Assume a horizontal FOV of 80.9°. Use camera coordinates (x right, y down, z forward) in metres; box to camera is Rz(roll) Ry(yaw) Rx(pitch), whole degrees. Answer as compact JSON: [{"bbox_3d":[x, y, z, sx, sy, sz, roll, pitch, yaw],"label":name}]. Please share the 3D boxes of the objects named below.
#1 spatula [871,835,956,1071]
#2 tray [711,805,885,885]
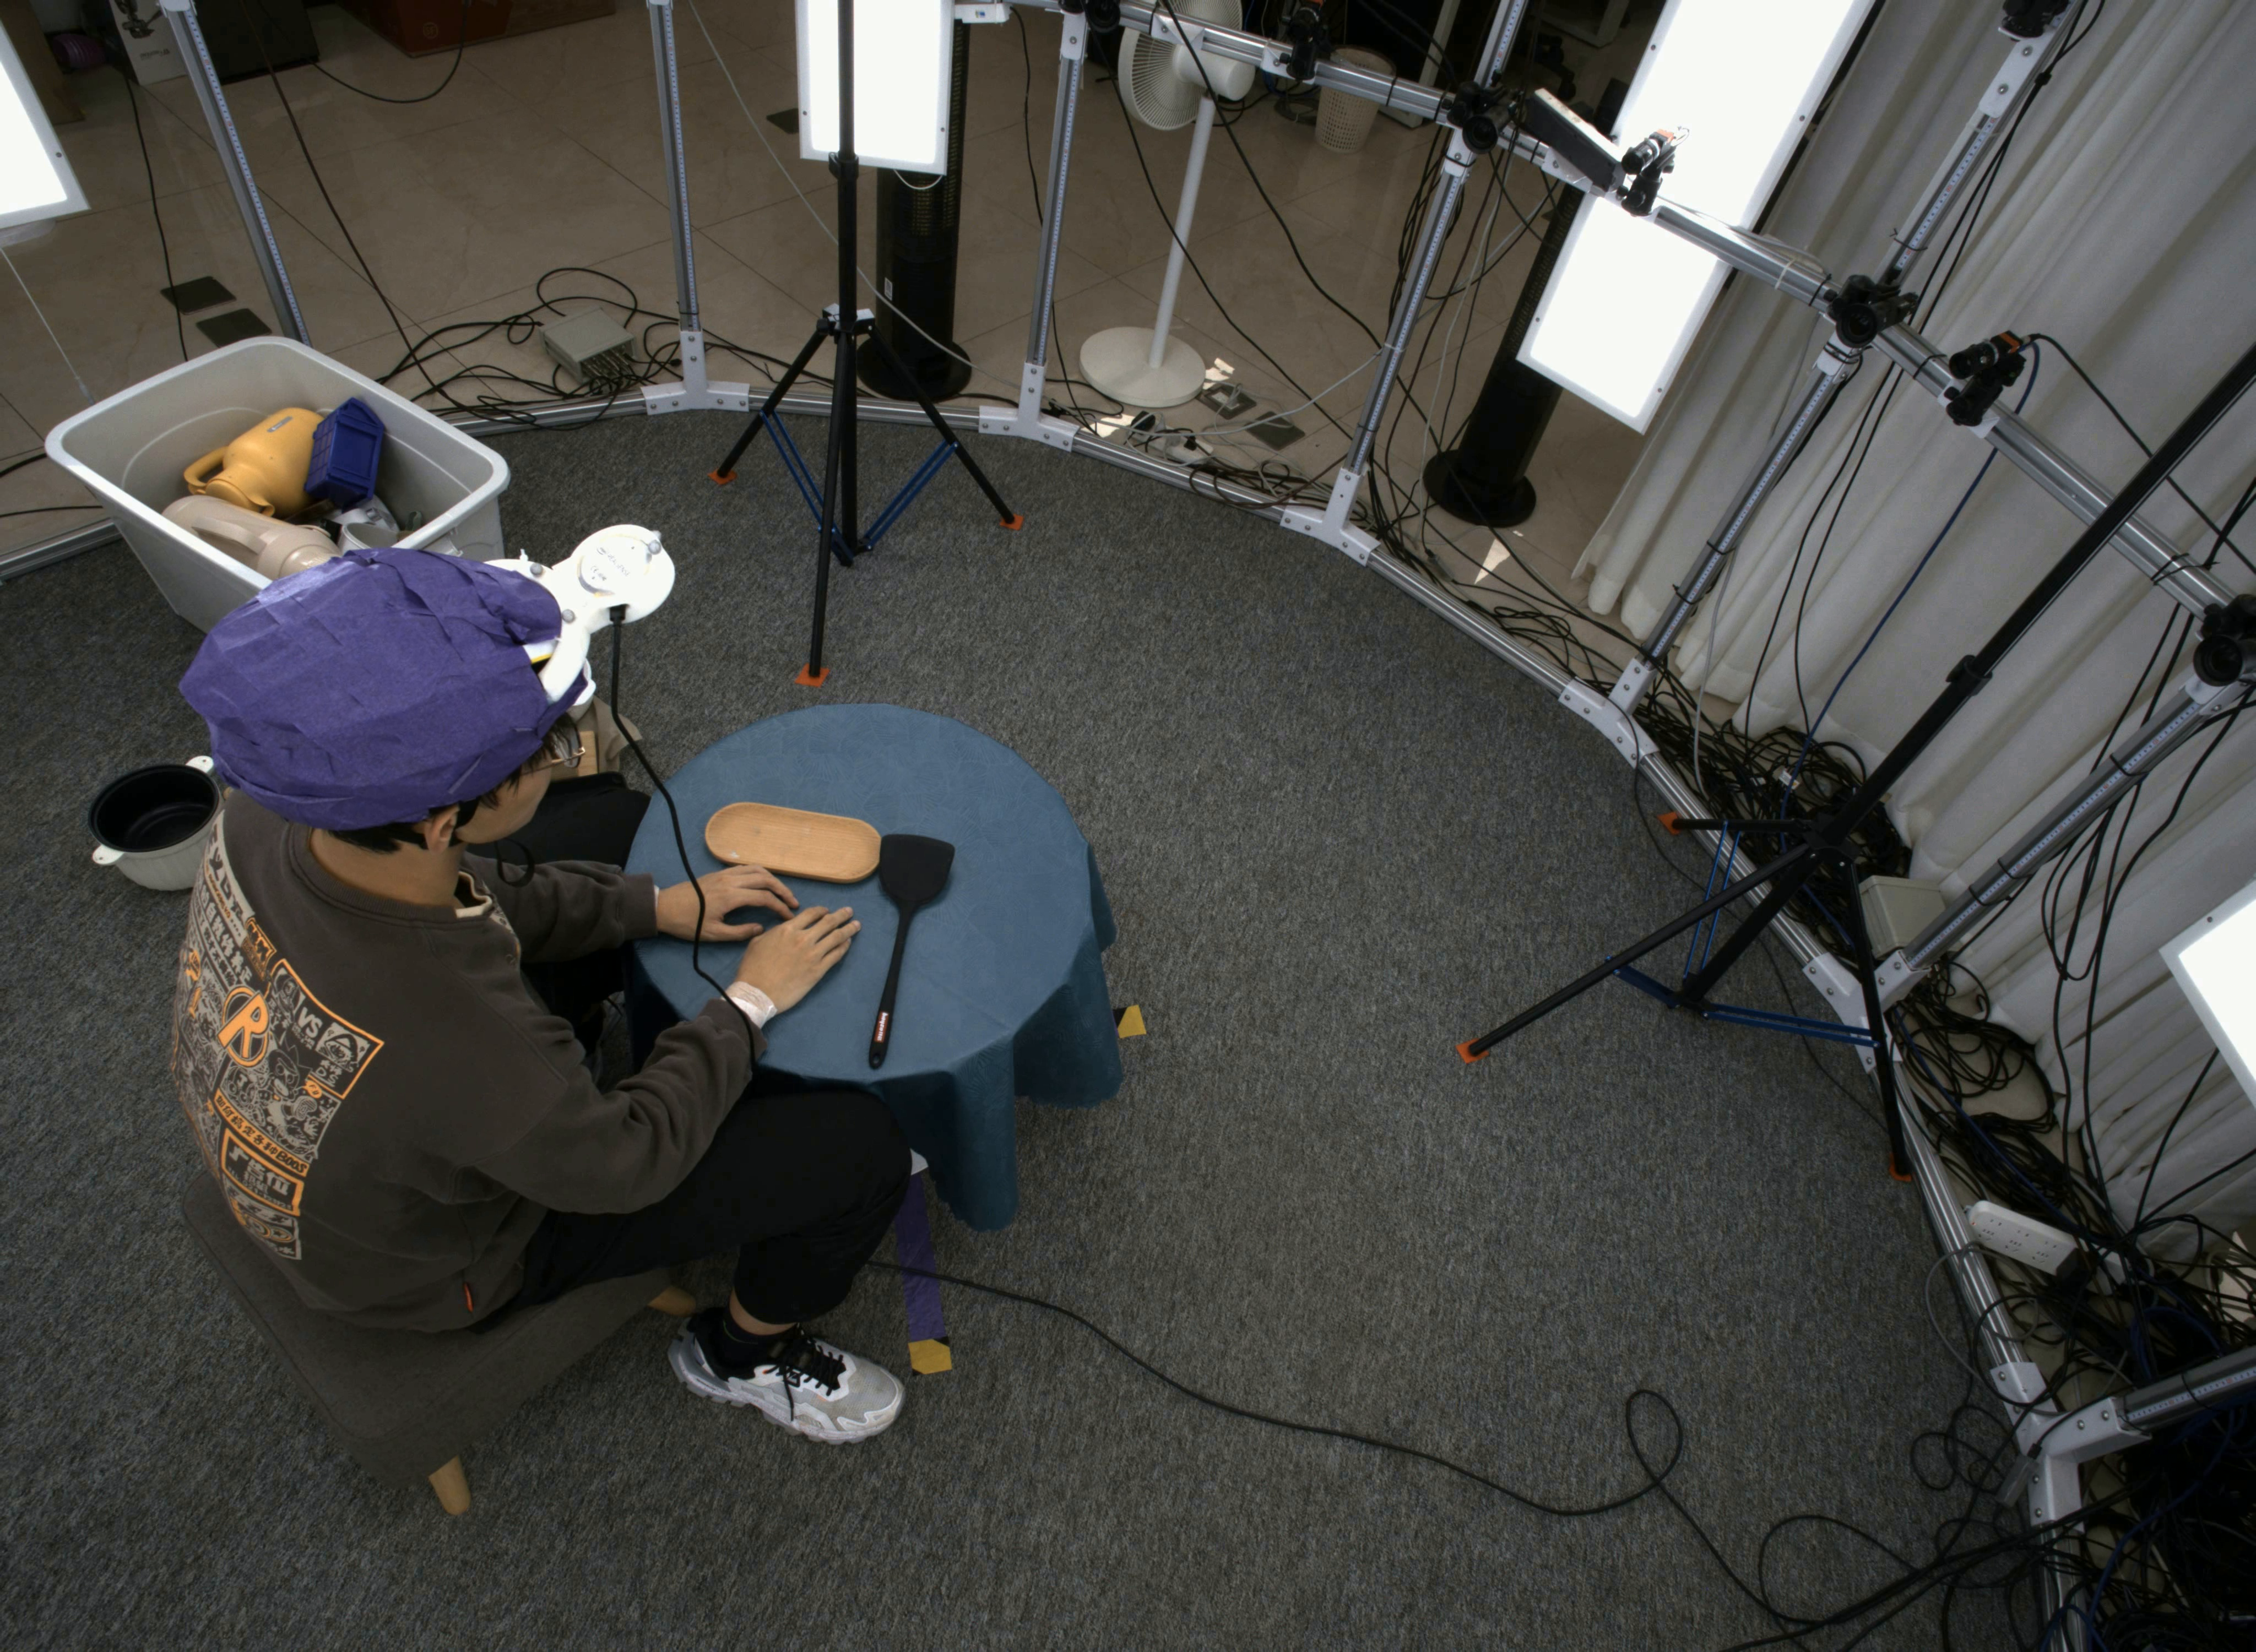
[{"bbox_3d":[-0.287,0.152,1.637,0.099,0.041,0.321,8,53,-5],"label":"spatula"},{"bbox_3d":[-0.433,0.024,1.708,0.230,0.021,0.100,9,53,-8],"label":"tray"}]
